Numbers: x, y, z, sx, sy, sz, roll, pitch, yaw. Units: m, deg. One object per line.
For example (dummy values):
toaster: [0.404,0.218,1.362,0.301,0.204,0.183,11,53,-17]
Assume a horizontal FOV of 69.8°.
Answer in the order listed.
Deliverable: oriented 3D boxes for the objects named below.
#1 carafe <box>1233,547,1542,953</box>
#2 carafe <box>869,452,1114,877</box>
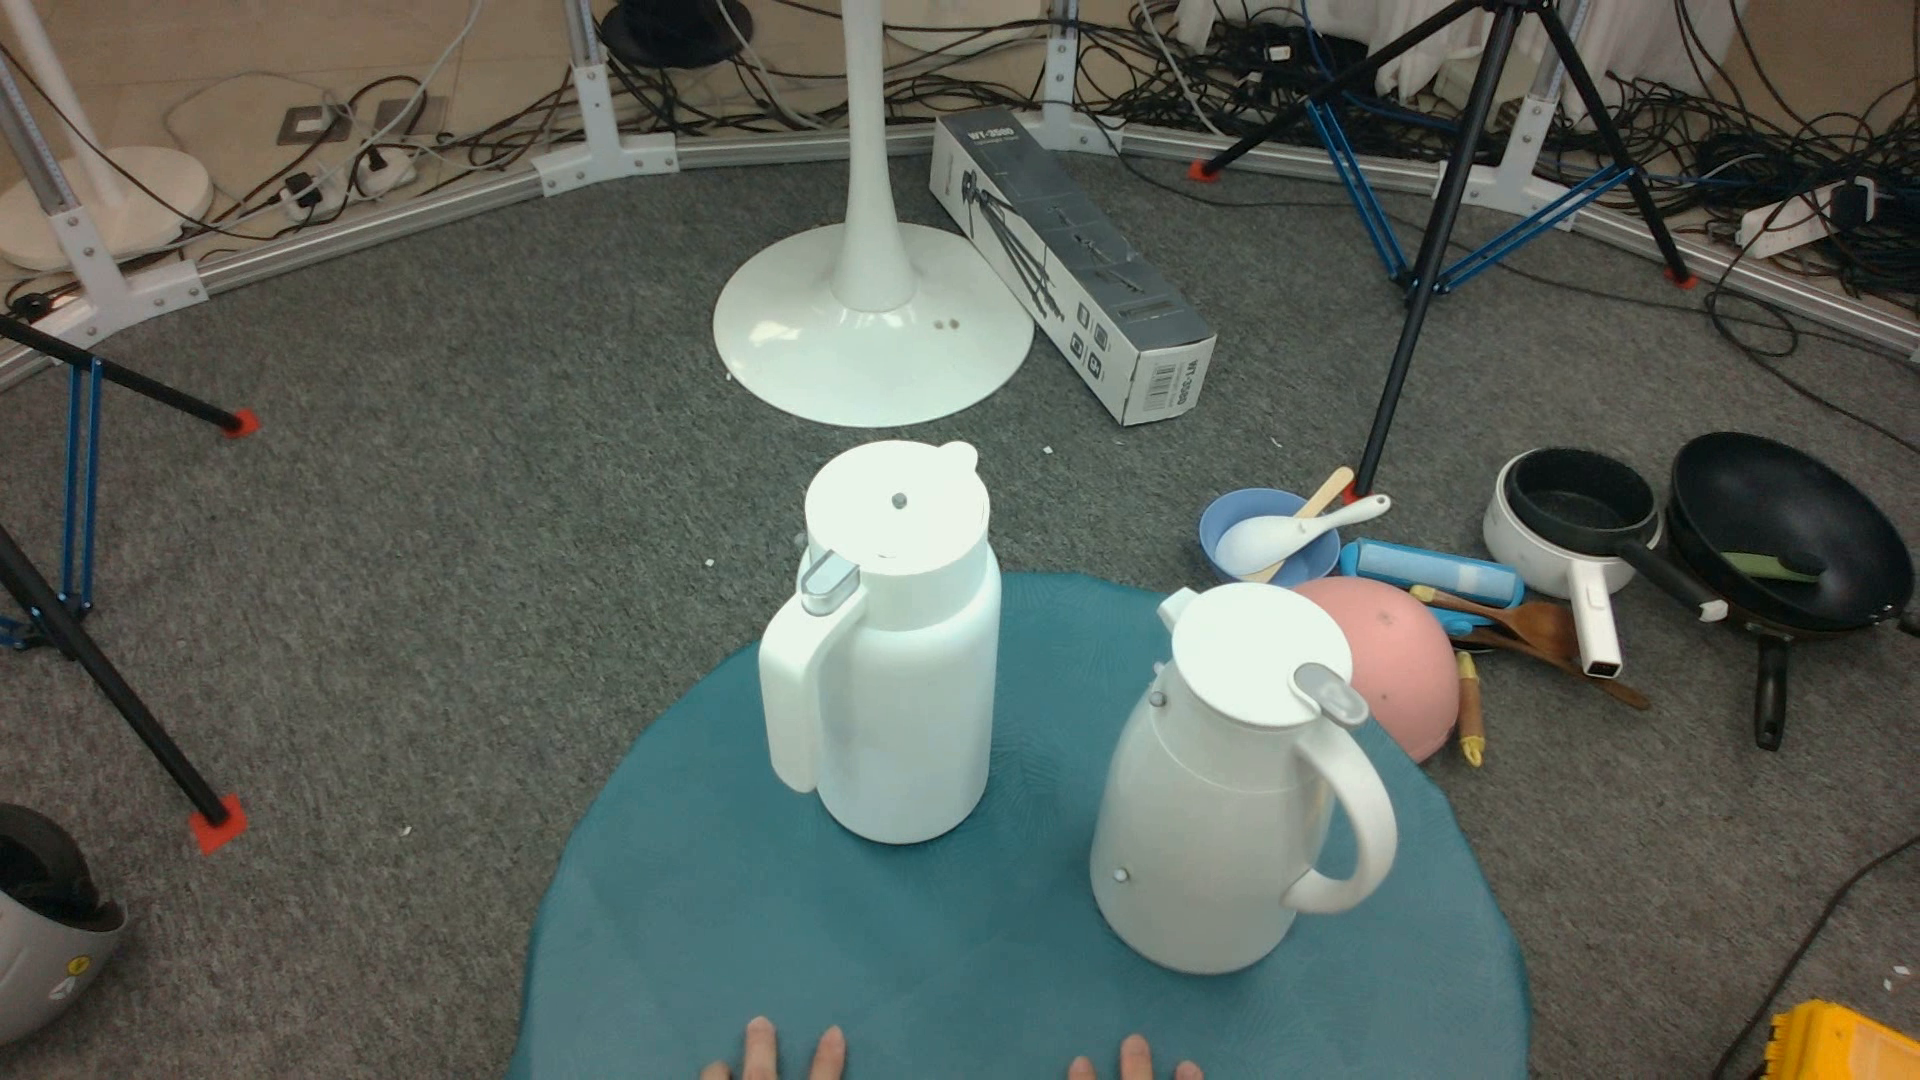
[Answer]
carafe: [0.235,0.123,0.763,0.168,0.247,0.133,32,60,32]
carafe: [0.020,0.098,0.812,0.124,0.267,0.173,18,53,22]
